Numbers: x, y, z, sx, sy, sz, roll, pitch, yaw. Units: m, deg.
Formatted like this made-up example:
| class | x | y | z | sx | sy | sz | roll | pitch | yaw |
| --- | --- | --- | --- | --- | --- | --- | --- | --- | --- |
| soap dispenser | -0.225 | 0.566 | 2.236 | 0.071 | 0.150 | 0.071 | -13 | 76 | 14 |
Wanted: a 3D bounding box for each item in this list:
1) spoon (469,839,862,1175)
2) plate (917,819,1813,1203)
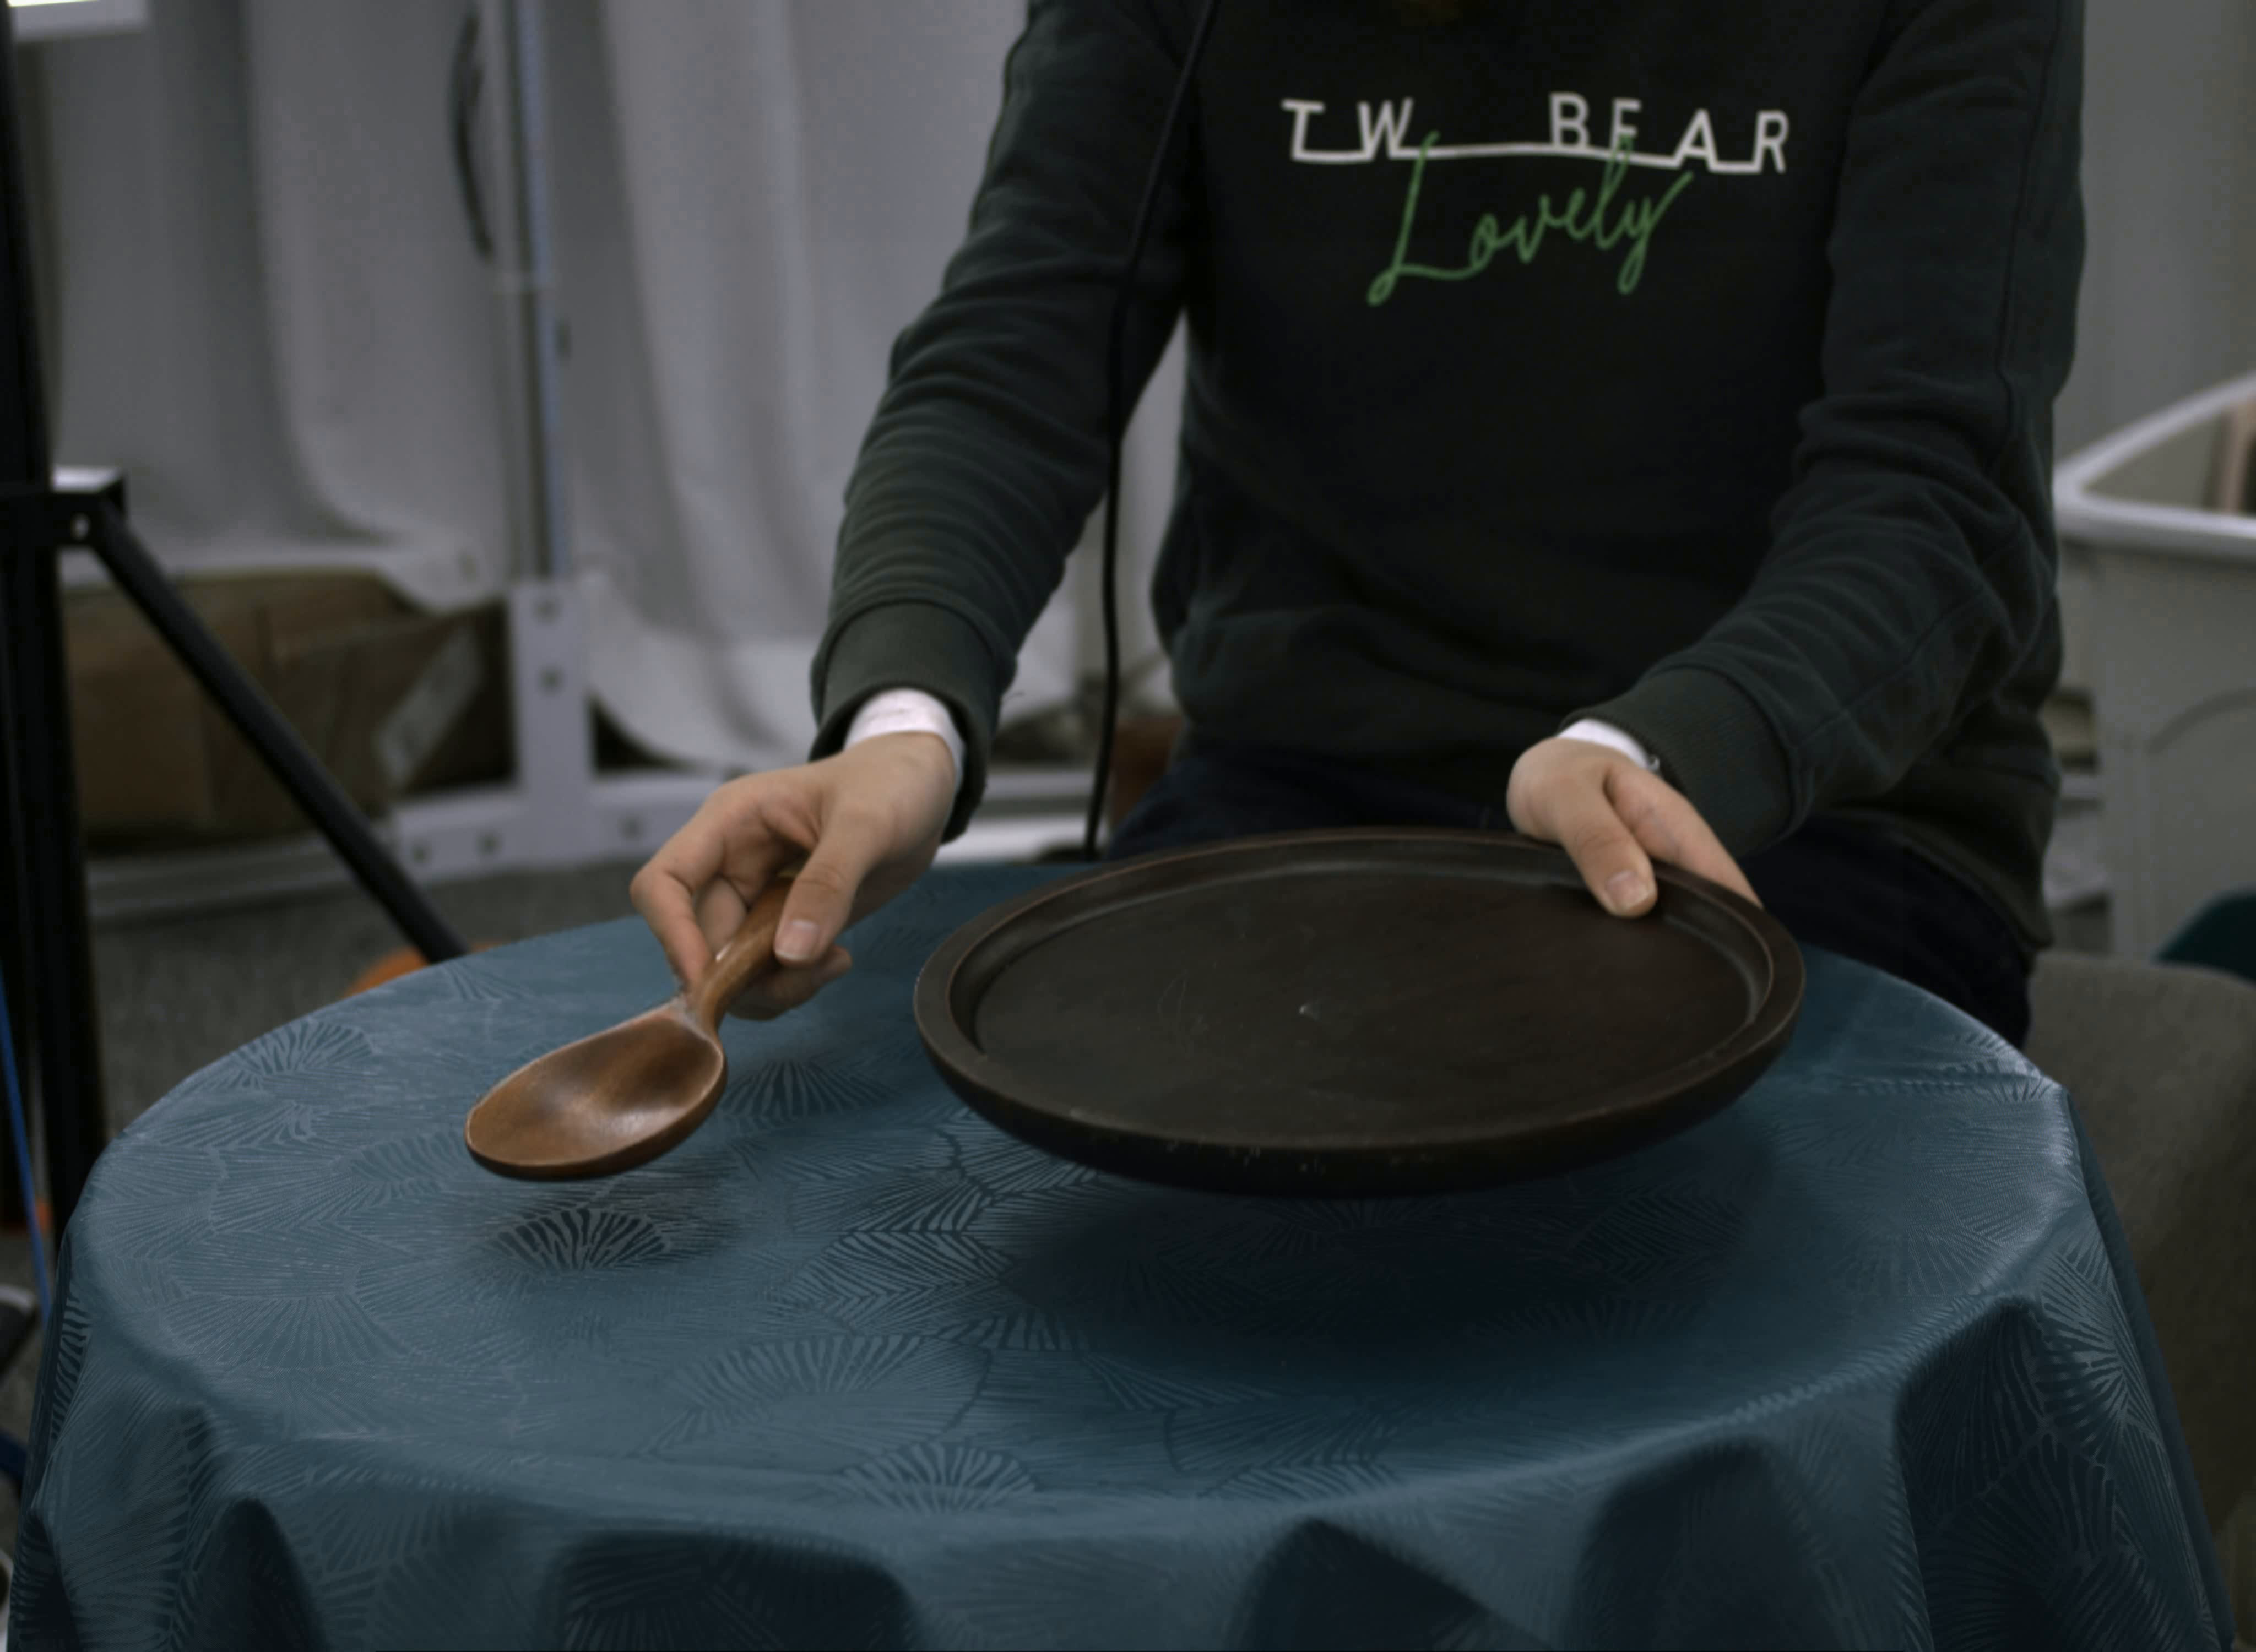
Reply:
| class | x | y | z | sx | sy | sz | roll | pitch | yaw |
| --- | --- | --- | --- | --- | --- | --- | --- | --- | --- |
| spoon | -0.130 | 0.056 | 1.607 | 0.076 | 0.017 | 0.214 | -2 | 24 | 24 |
| plate | 0.067 | 0.051 | 1.500 | 0.253 | 0.029 | 0.256 | -3 | 20 | 0 |
